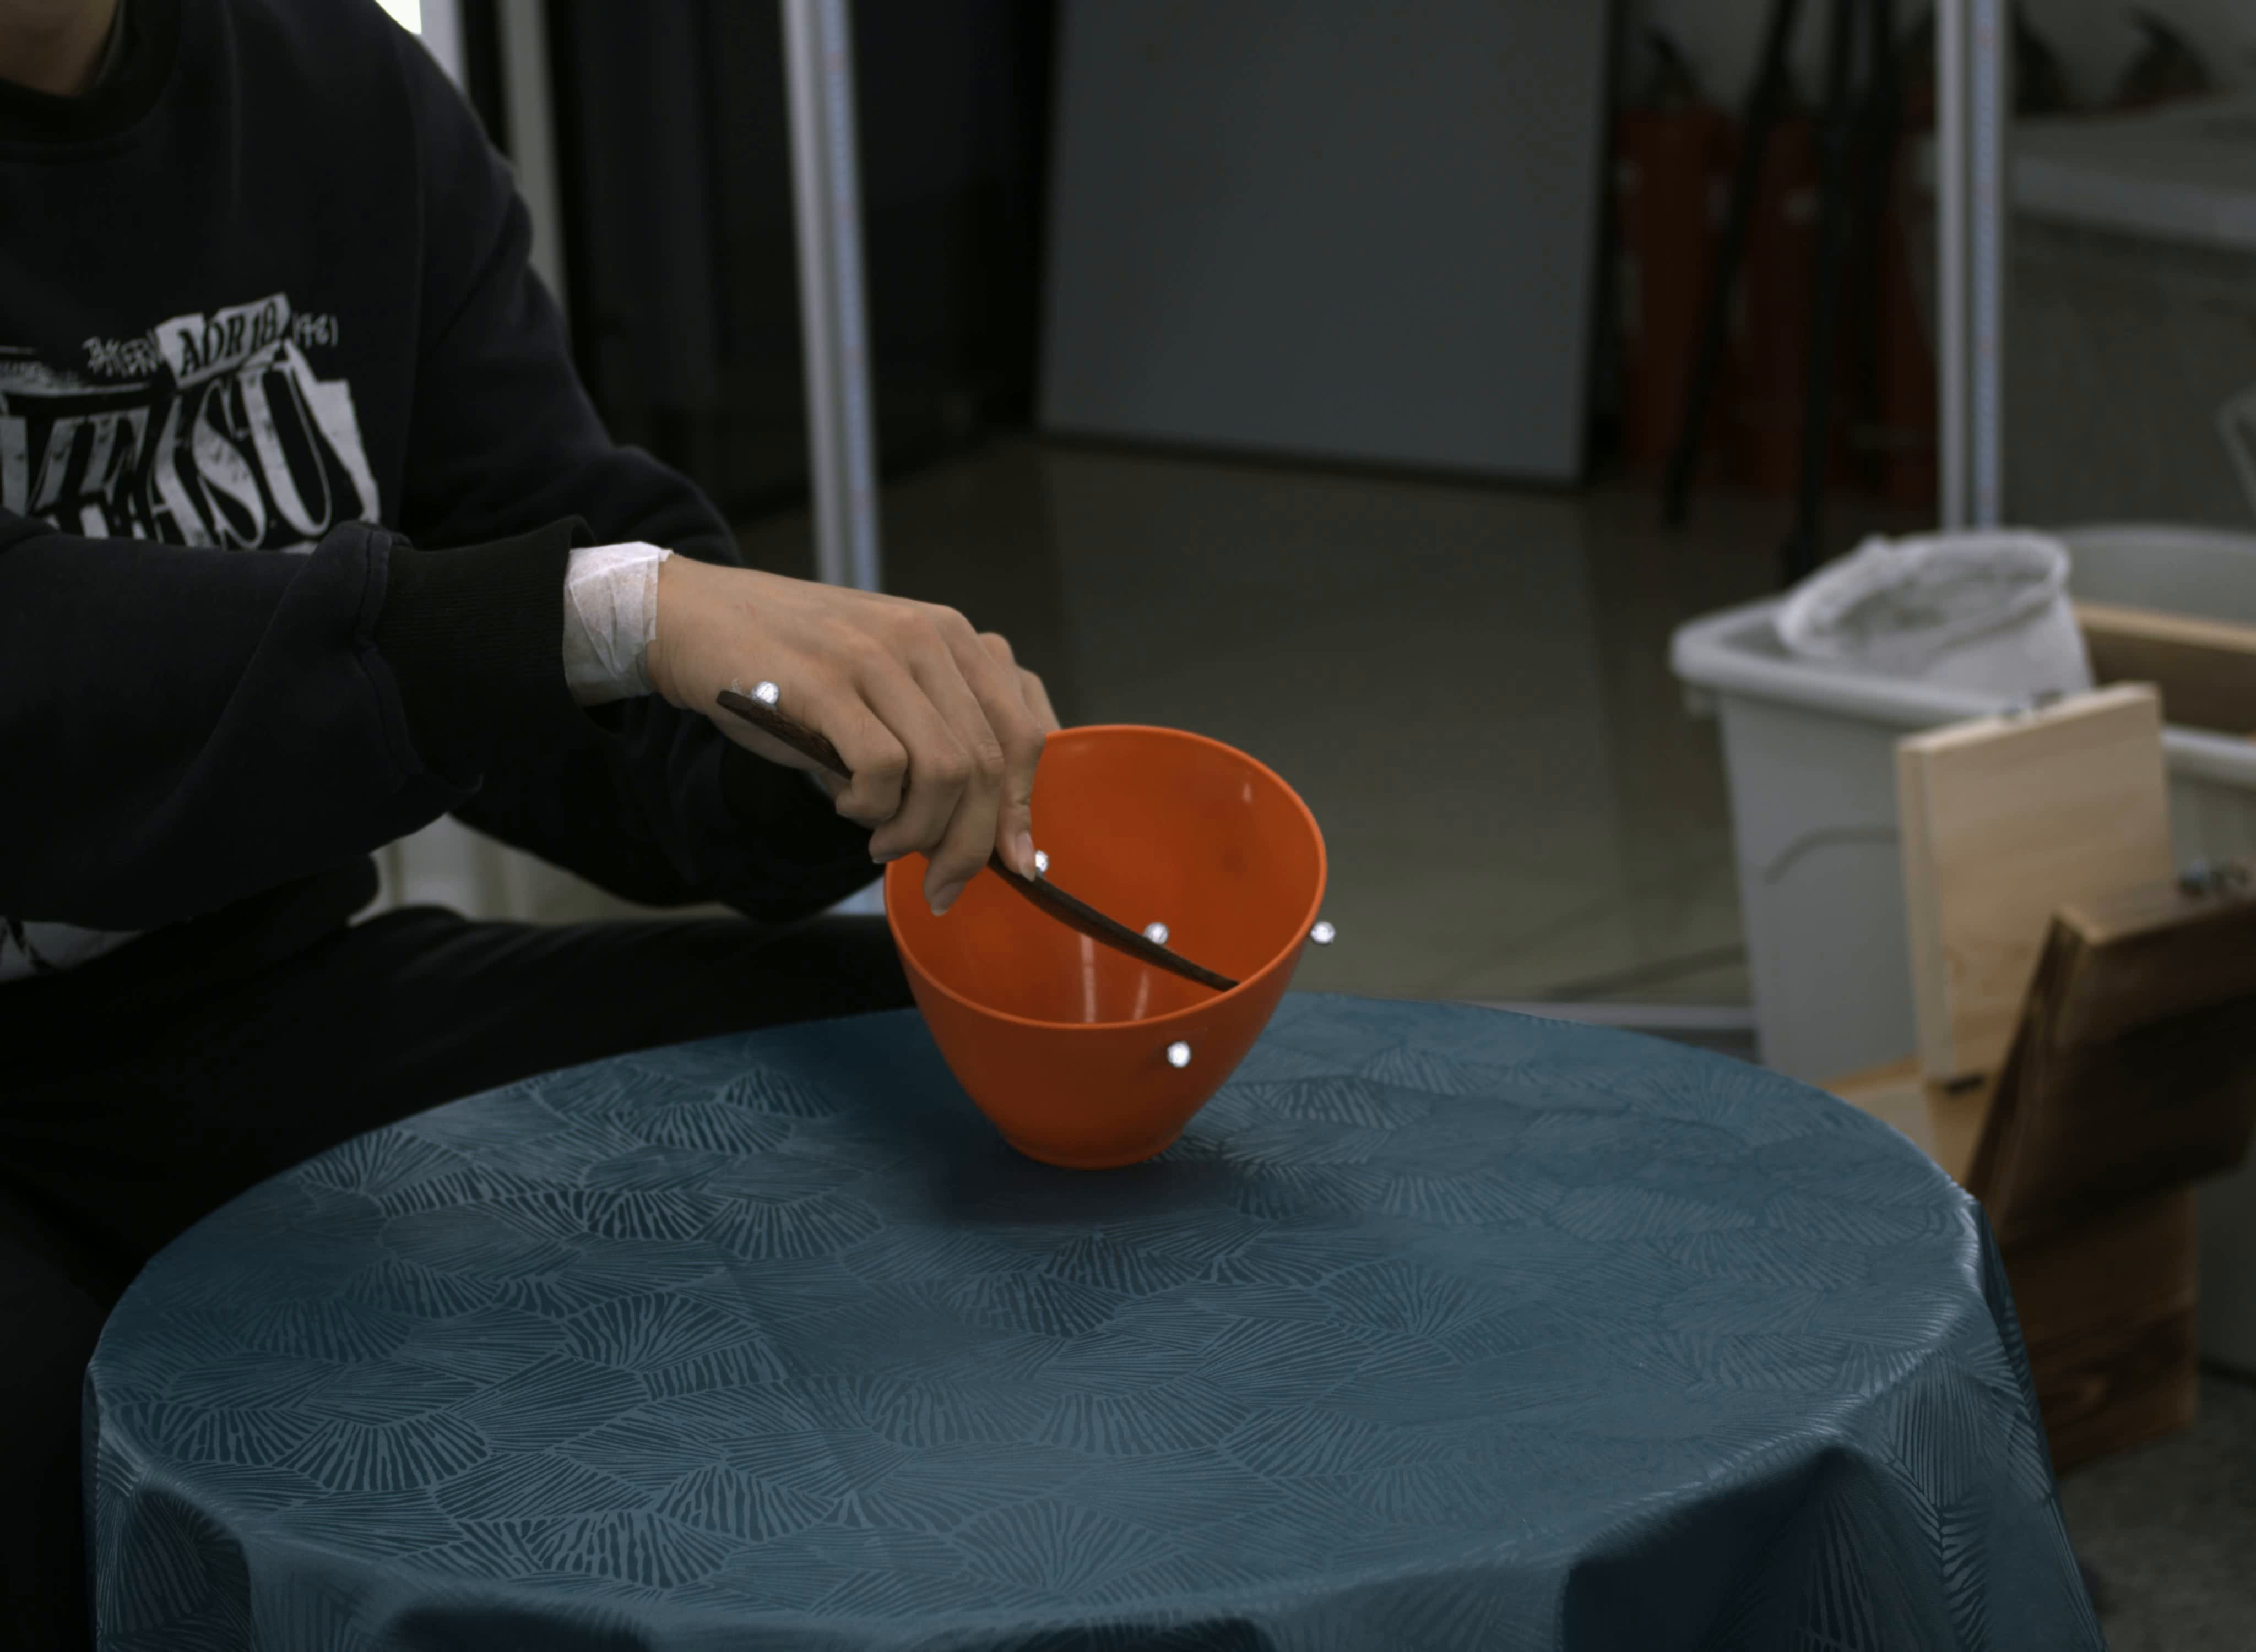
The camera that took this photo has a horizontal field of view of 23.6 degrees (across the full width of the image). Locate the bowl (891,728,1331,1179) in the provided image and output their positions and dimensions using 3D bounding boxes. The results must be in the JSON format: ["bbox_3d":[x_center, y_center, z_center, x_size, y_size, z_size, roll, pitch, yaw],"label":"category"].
[{"bbox_3d":[-0.007,0.050,1.804,0.146,0.105,0.149,0,33,-1],"label":"bowl"}]

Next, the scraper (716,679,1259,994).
[{"bbox_3d":[-0.048,0.005,1.734,0.208,0.011,0.076,32,-7,-29],"label":"scraper"}]
